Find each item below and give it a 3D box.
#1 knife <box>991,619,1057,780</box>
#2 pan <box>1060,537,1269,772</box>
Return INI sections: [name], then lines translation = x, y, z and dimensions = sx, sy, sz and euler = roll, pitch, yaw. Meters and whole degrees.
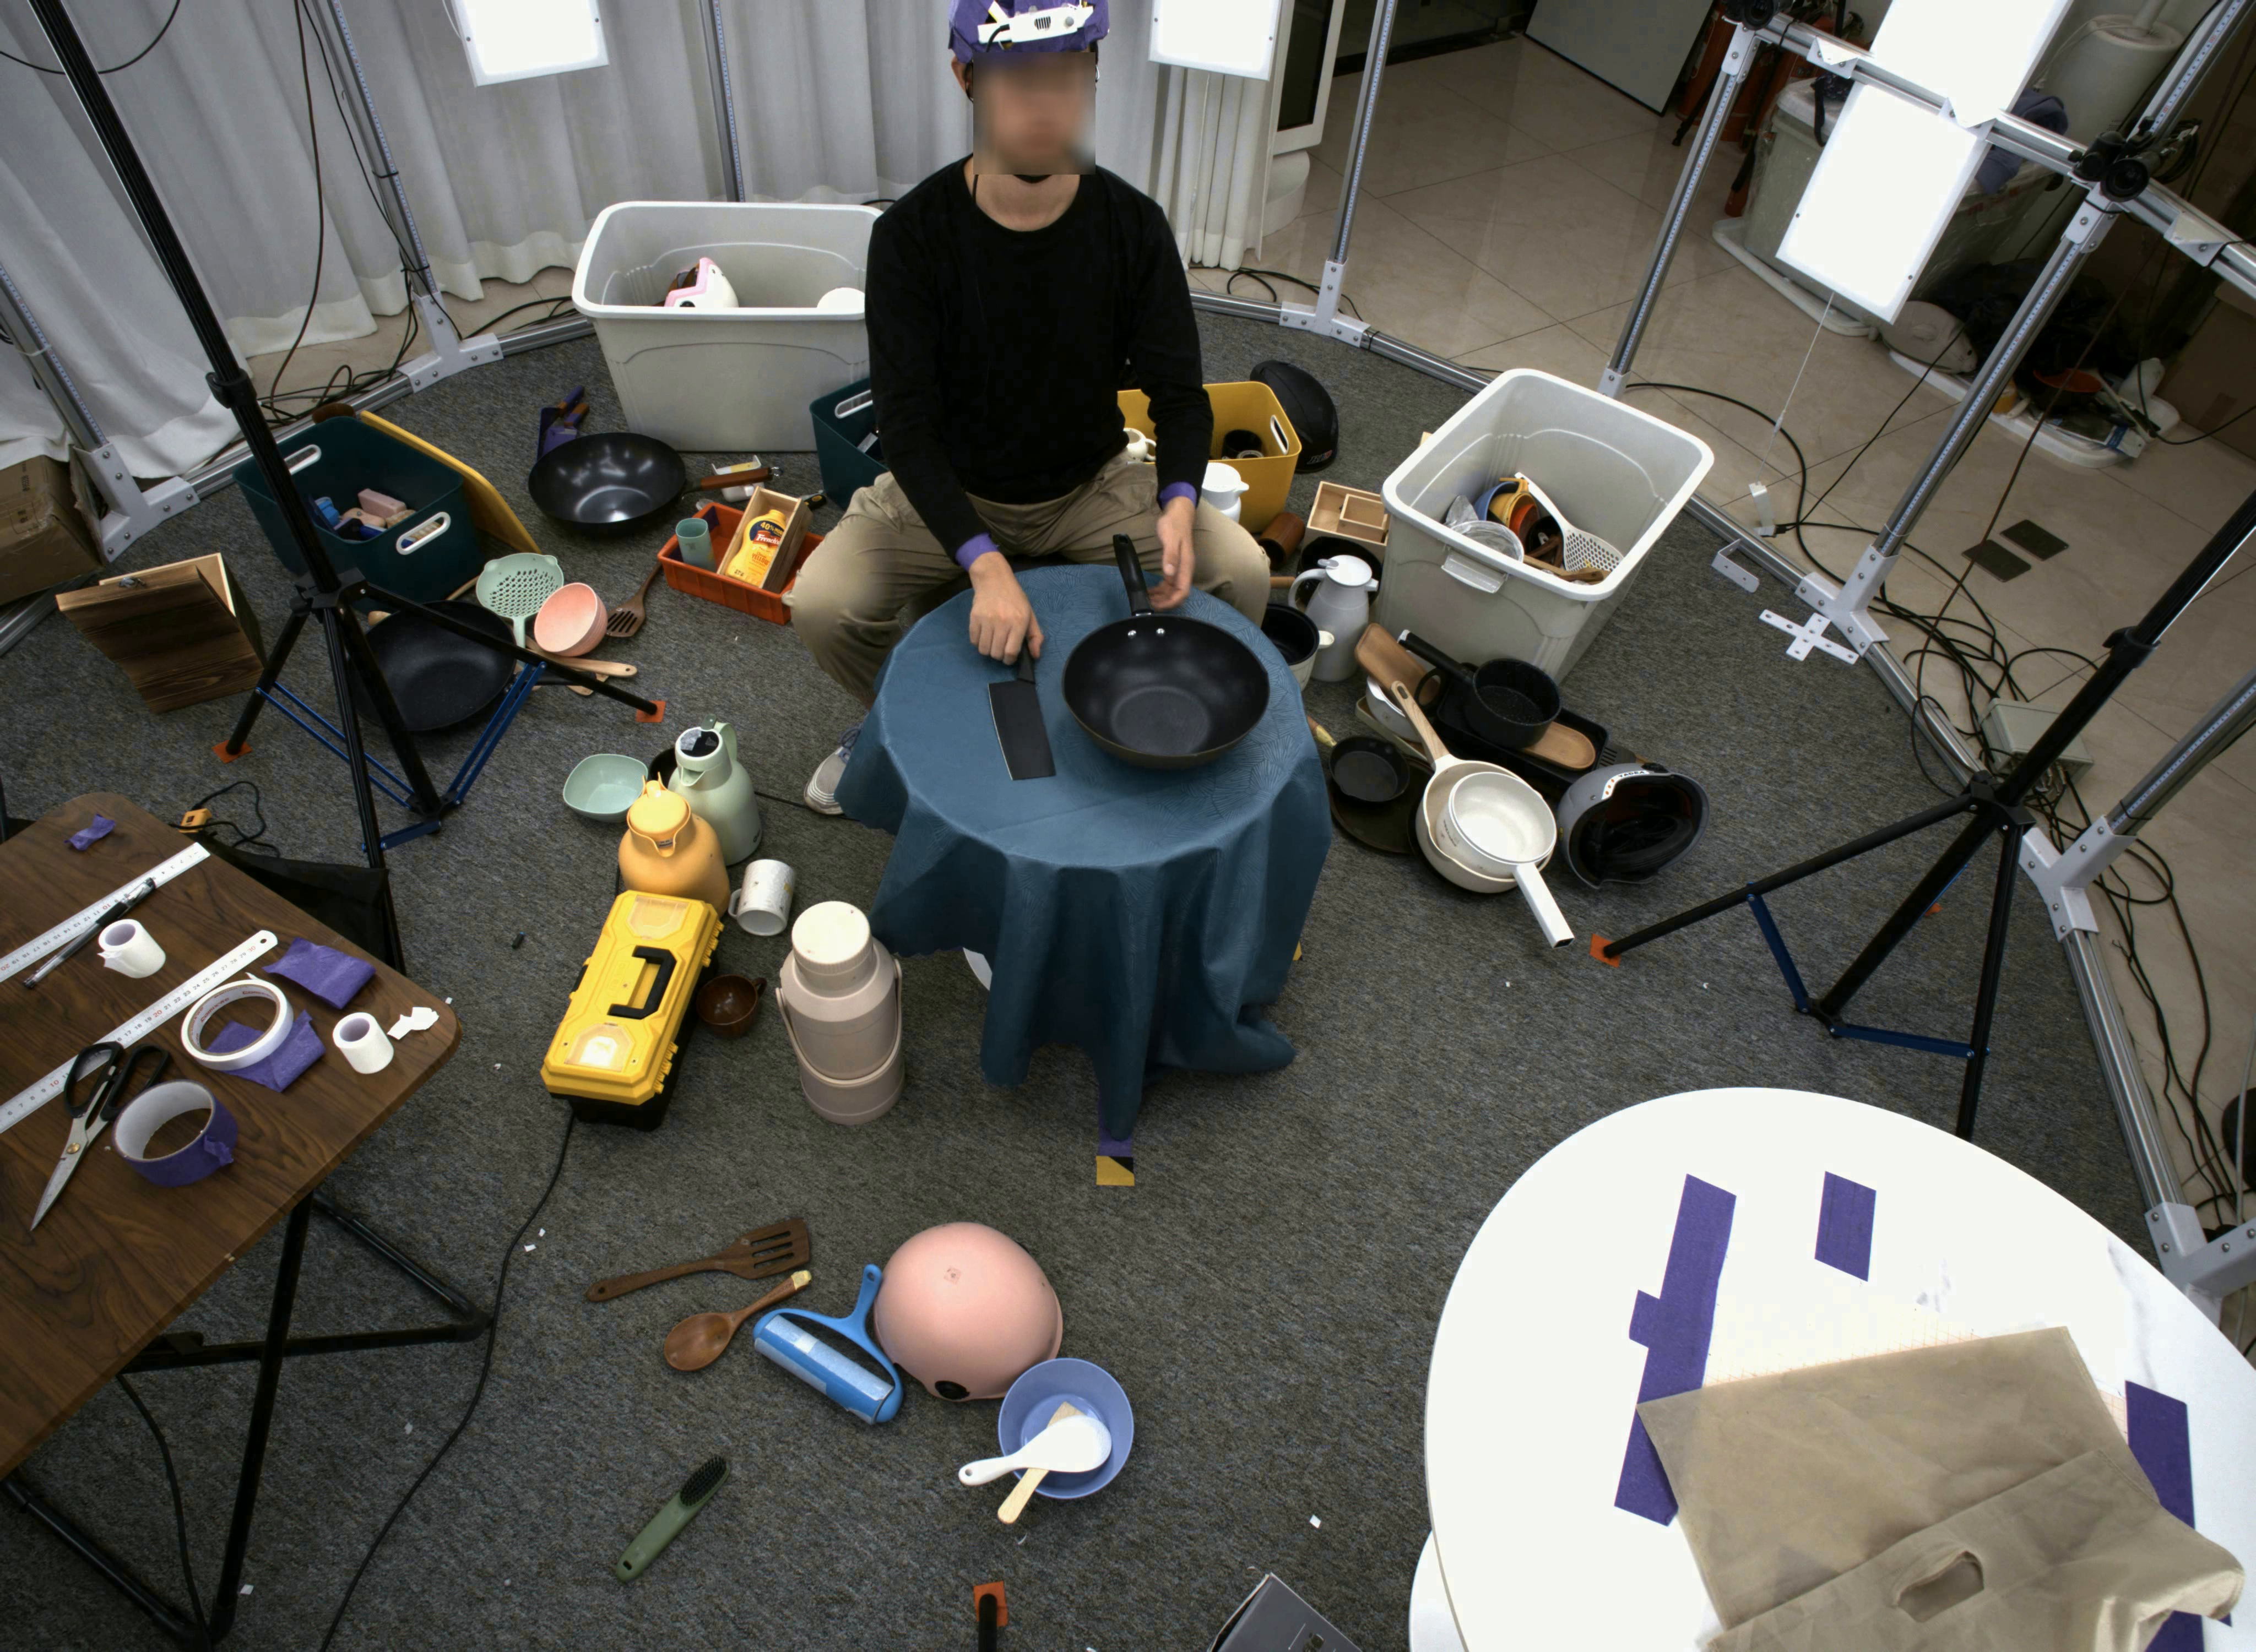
[knife]
translation = -0.154, -0.182, 1.809
dimensions = 0.081, 0.020, 0.310
euler = -3, 51, -7
[pan]
translation = 0.032, -0.239, 1.825
dimensions = 0.288, 0.085, 0.475
euler = -6, 49, -9
